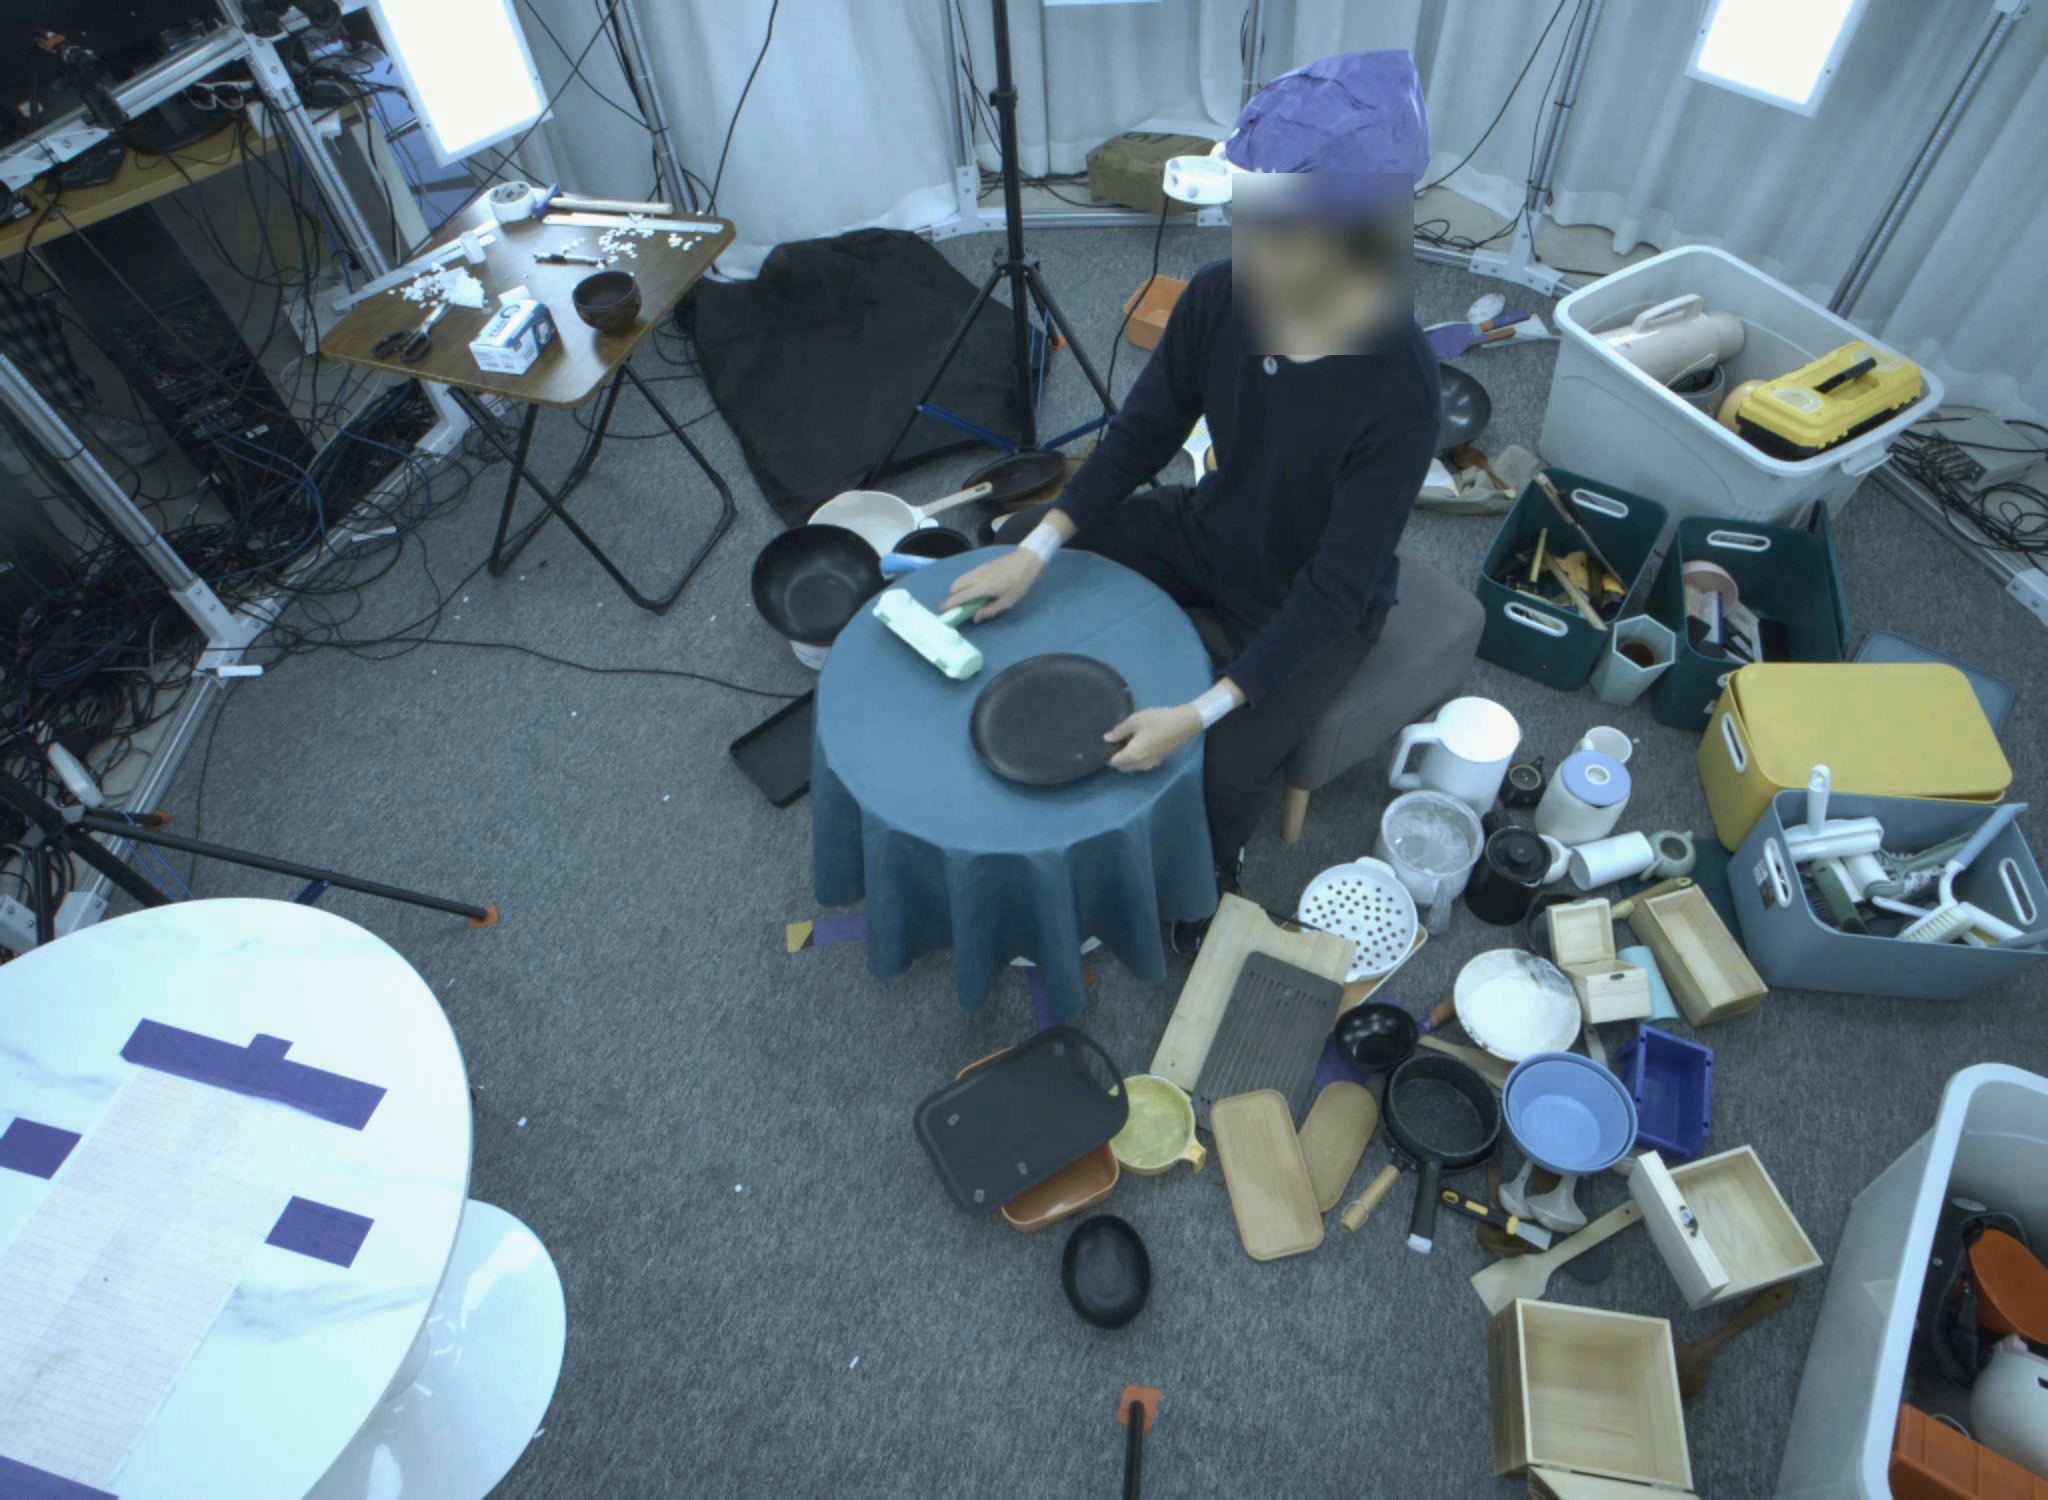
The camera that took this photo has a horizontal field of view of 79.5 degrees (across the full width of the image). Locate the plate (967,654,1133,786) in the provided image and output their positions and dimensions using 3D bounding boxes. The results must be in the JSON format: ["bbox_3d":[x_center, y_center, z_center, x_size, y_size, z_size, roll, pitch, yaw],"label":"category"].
[{"bbox_3d":[0.039,-0.042,1.790,0.243,0.024,0.242,-4,53,6],"label":"plate"}]

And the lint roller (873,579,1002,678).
[{"bbox_3d":[-0.108,-0.221,1.892,0.184,0.083,0.195,-43,64,-15],"label":"lint roller"}]
